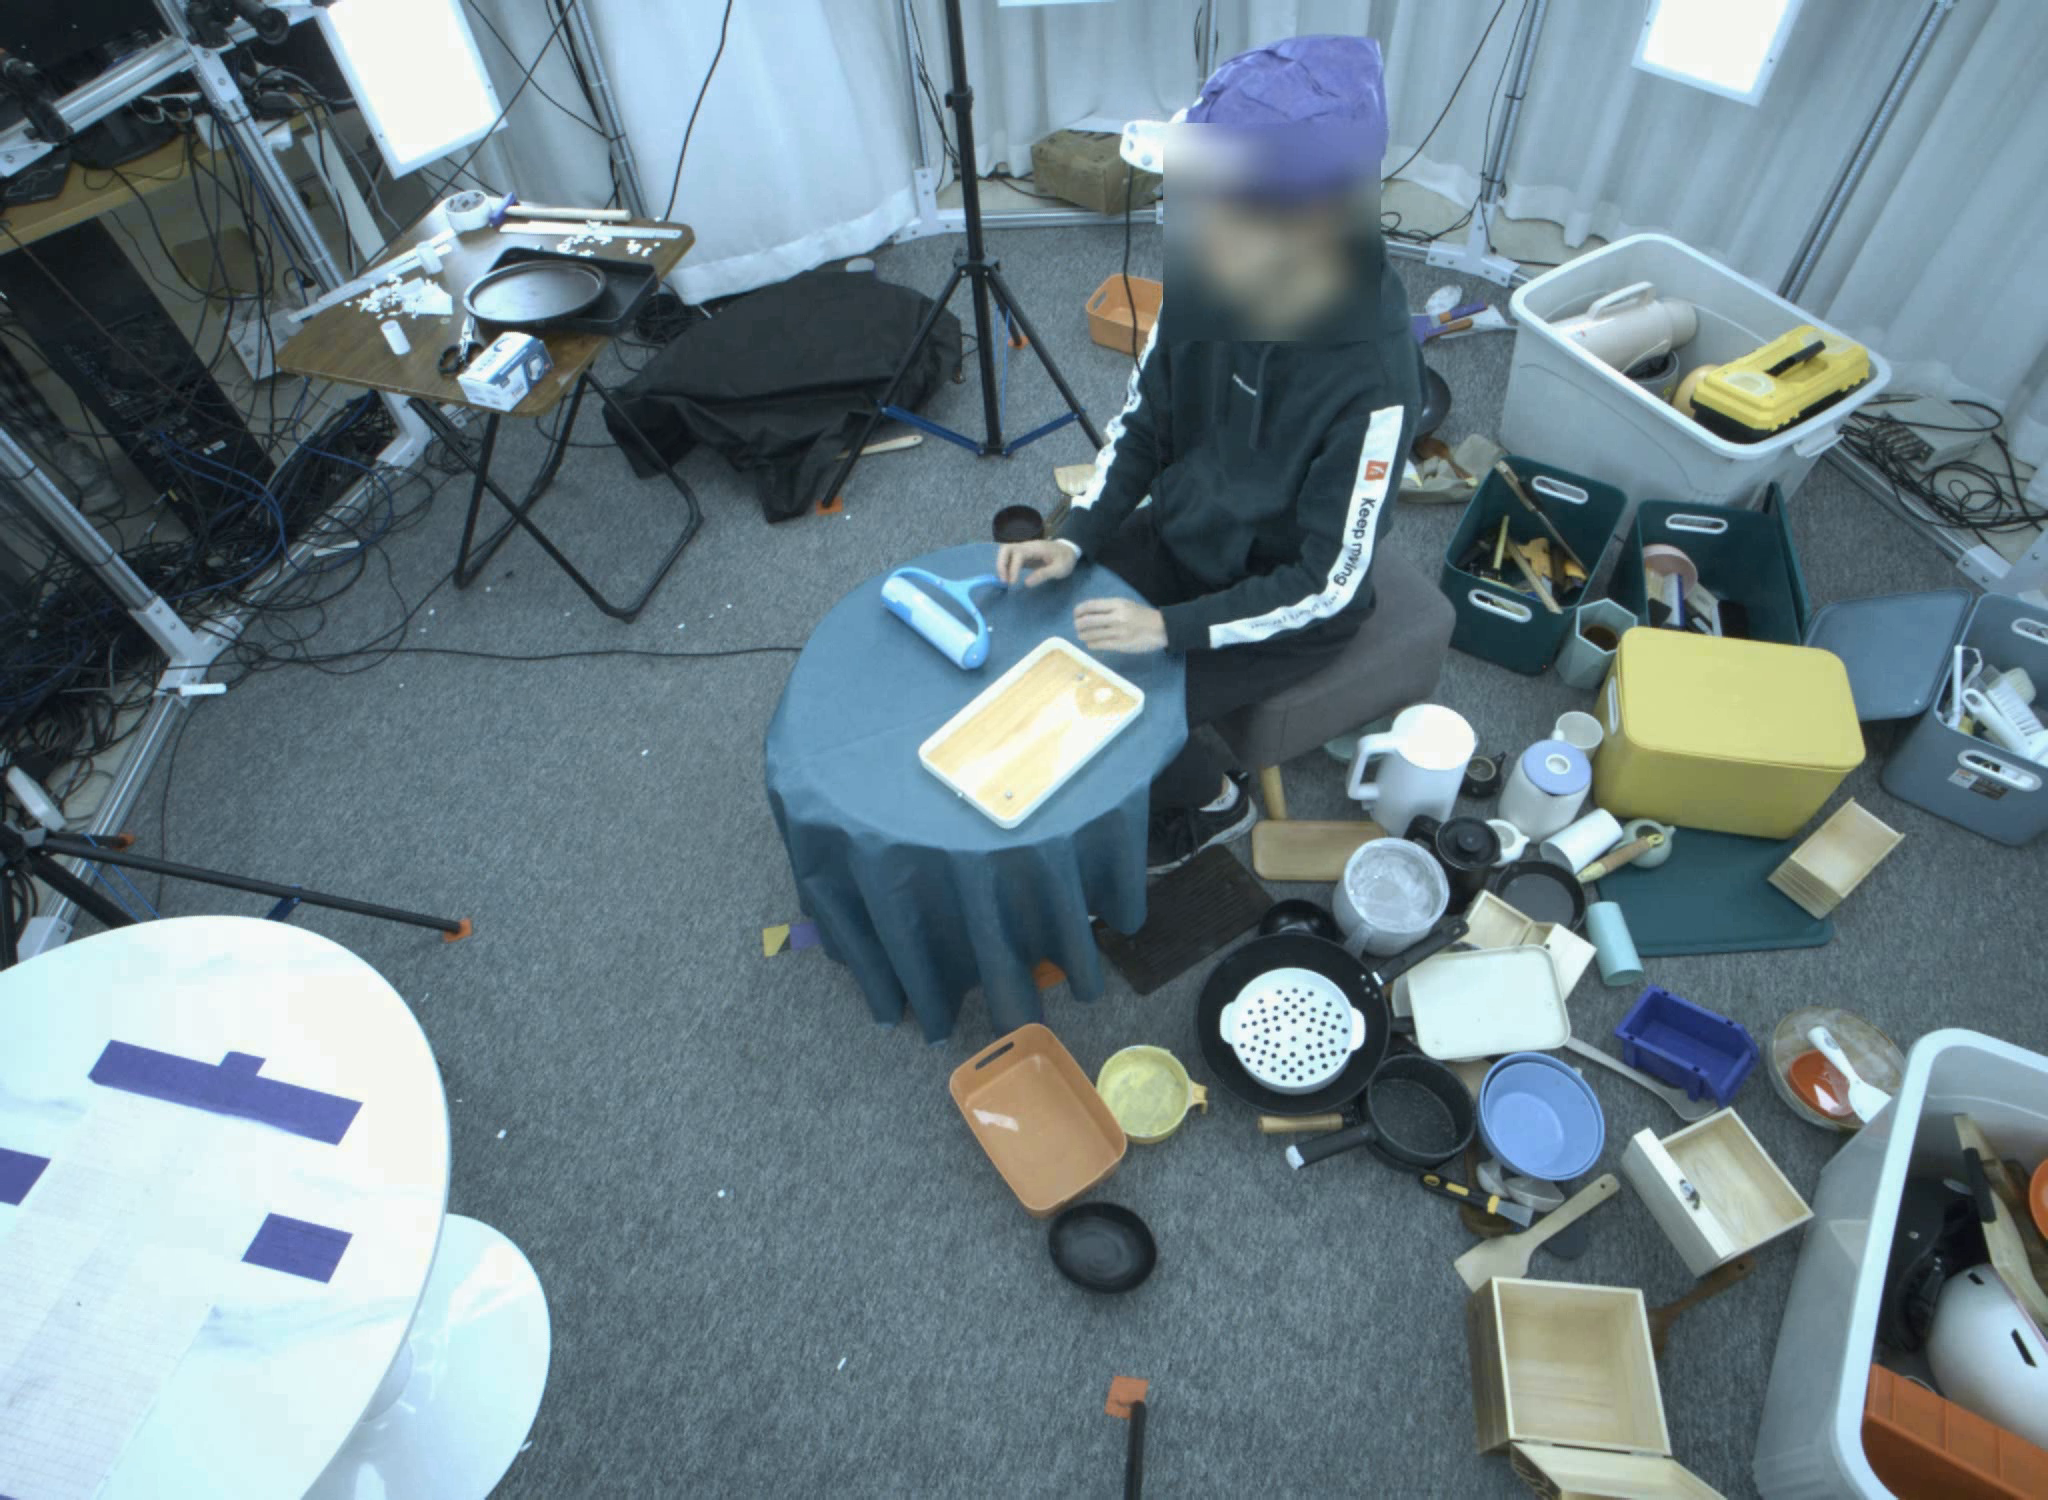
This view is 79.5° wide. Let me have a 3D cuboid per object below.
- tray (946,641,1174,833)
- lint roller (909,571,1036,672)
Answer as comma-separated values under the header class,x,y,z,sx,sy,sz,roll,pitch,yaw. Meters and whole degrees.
class,x,y,z,sx,sy,sz,roll,pitch,yaw
tray,0.054,-0.024,1.782,0.302,0.028,0.188,-40,63,-23
lint roller,-0.055,-0.229,1.914,0.224,0.069,0.181,37,64,27
